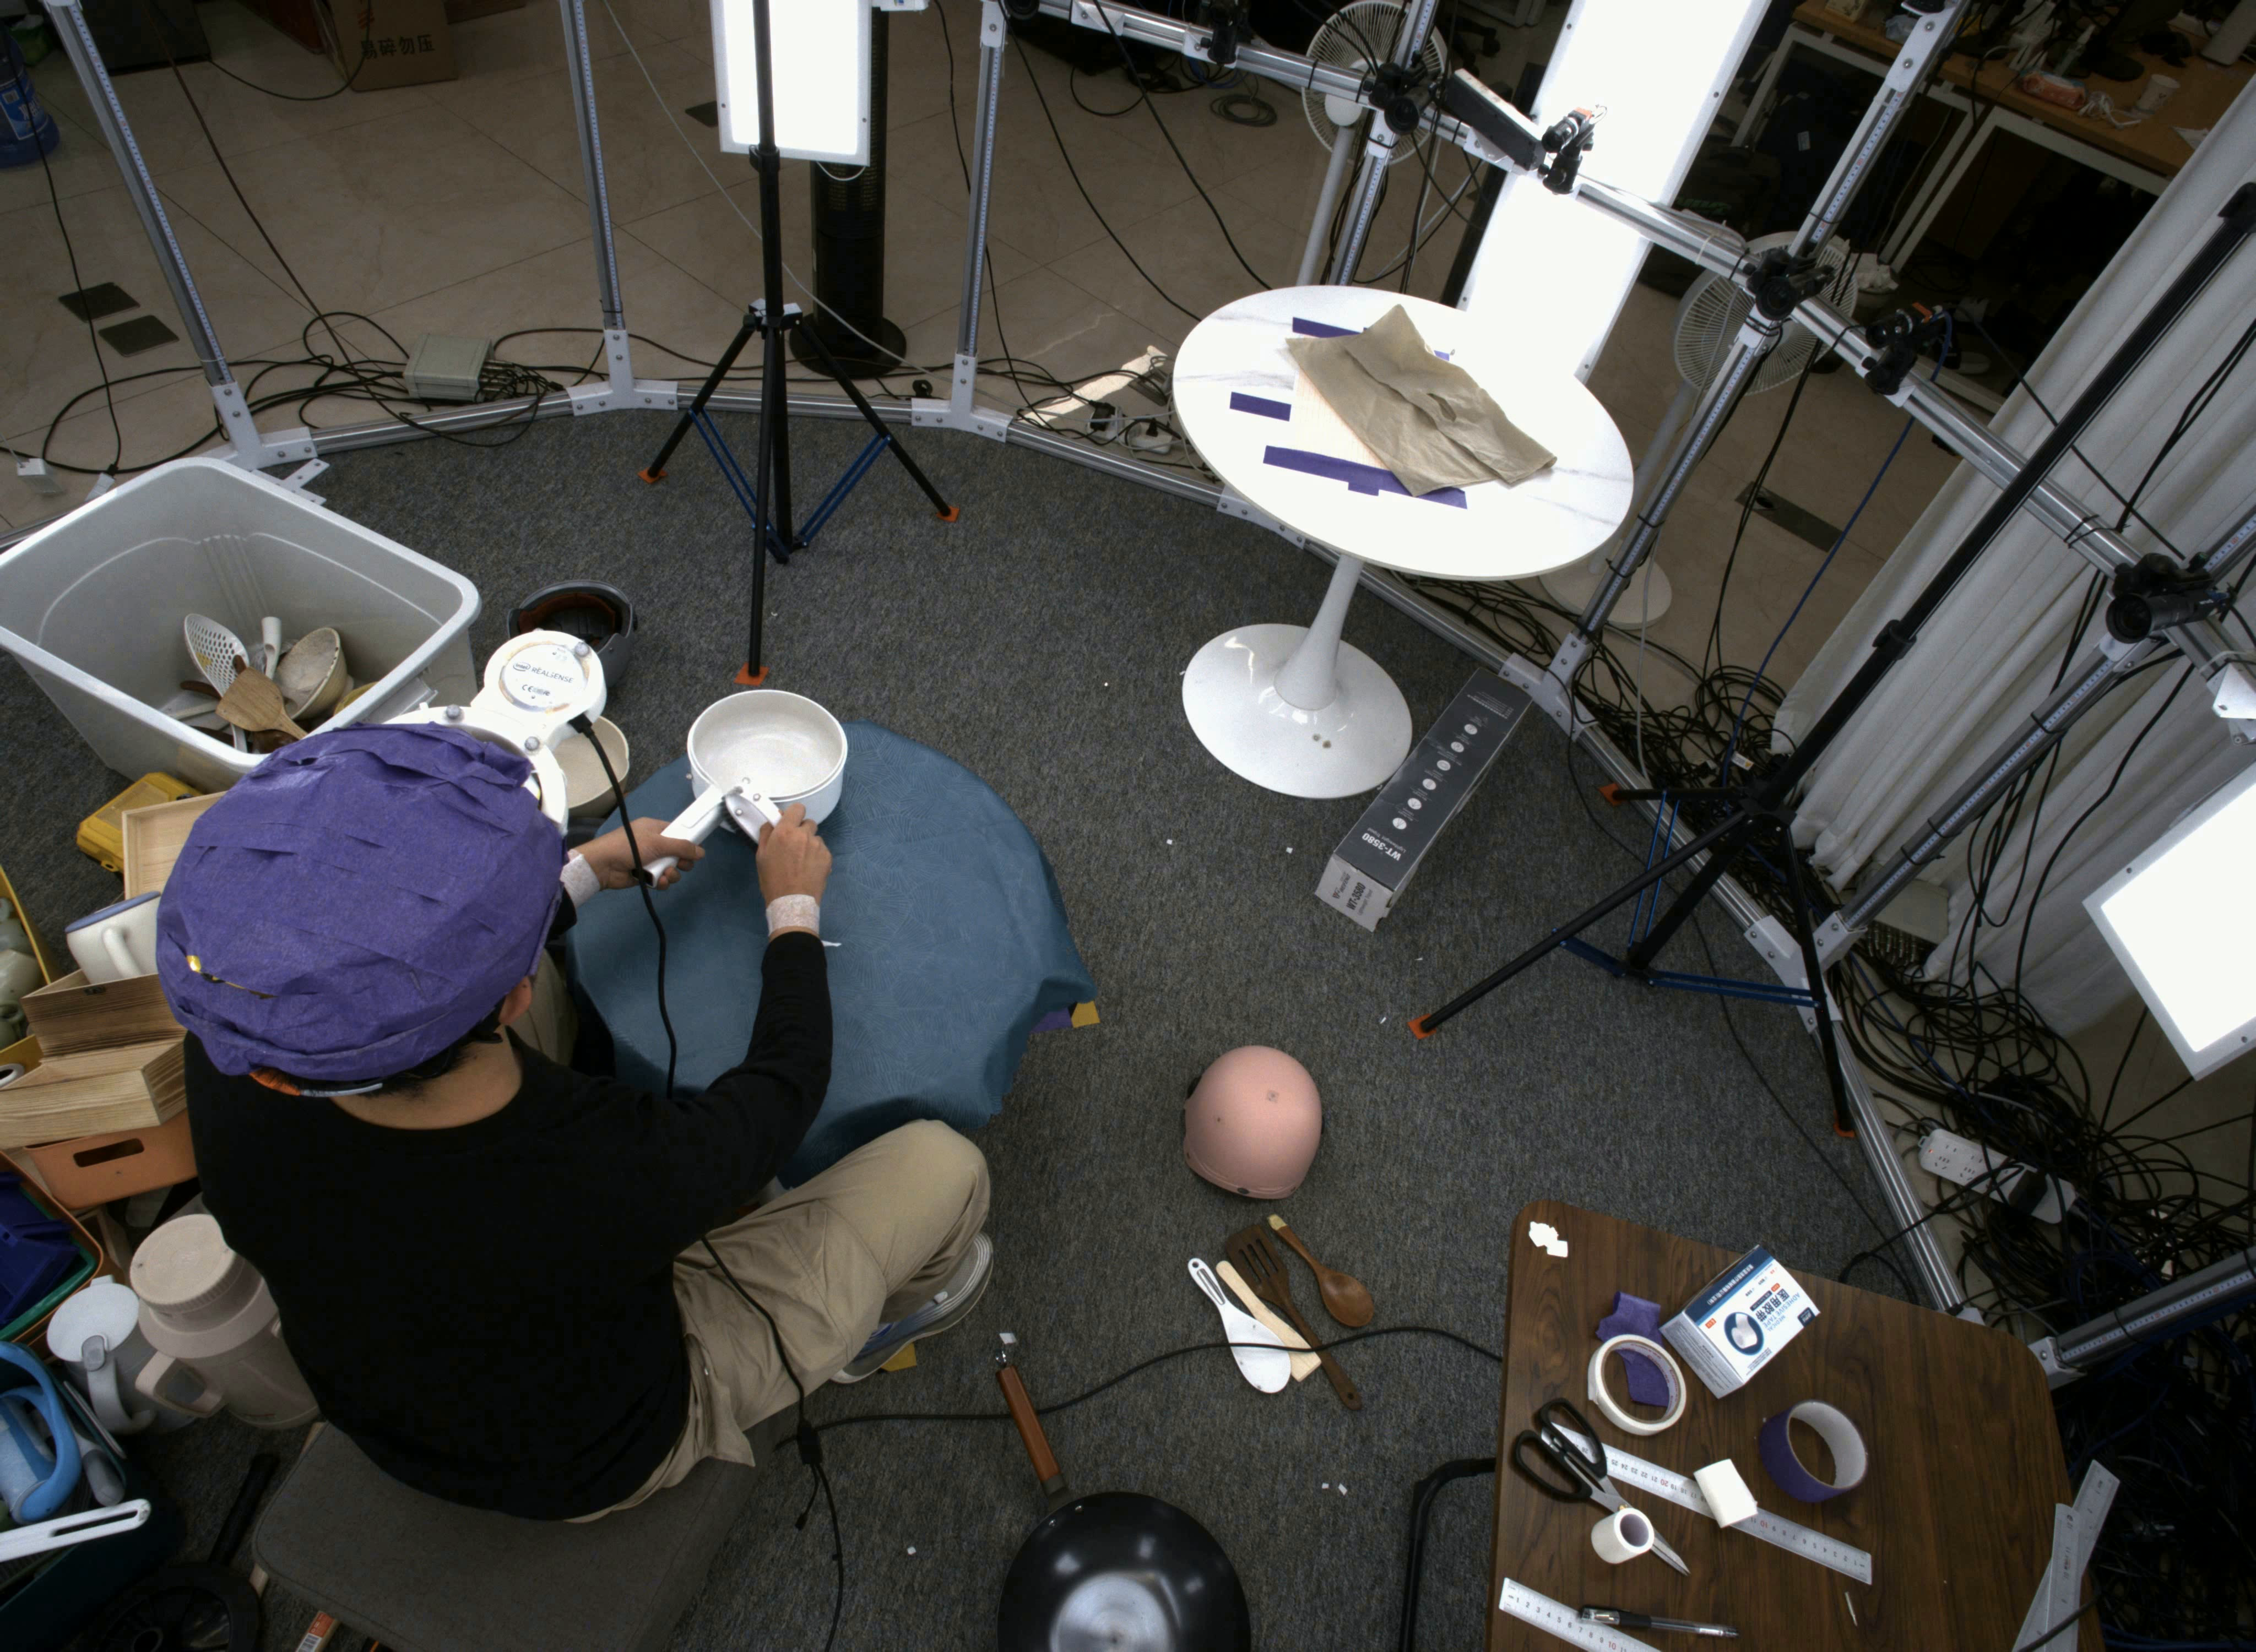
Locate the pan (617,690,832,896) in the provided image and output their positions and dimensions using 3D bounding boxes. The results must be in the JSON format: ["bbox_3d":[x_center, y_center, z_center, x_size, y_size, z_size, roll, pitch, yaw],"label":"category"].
[{"bbox_3d":[-0.521,-0.023,1.639,0.199,0.104,0.352,28,48,3],"label":"pan"}]

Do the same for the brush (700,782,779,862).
[{"bbox_3d":[-0.460,-0.010,1.549,0.101,0.071,0.050,51,50,-15],"label":"brush"}]
